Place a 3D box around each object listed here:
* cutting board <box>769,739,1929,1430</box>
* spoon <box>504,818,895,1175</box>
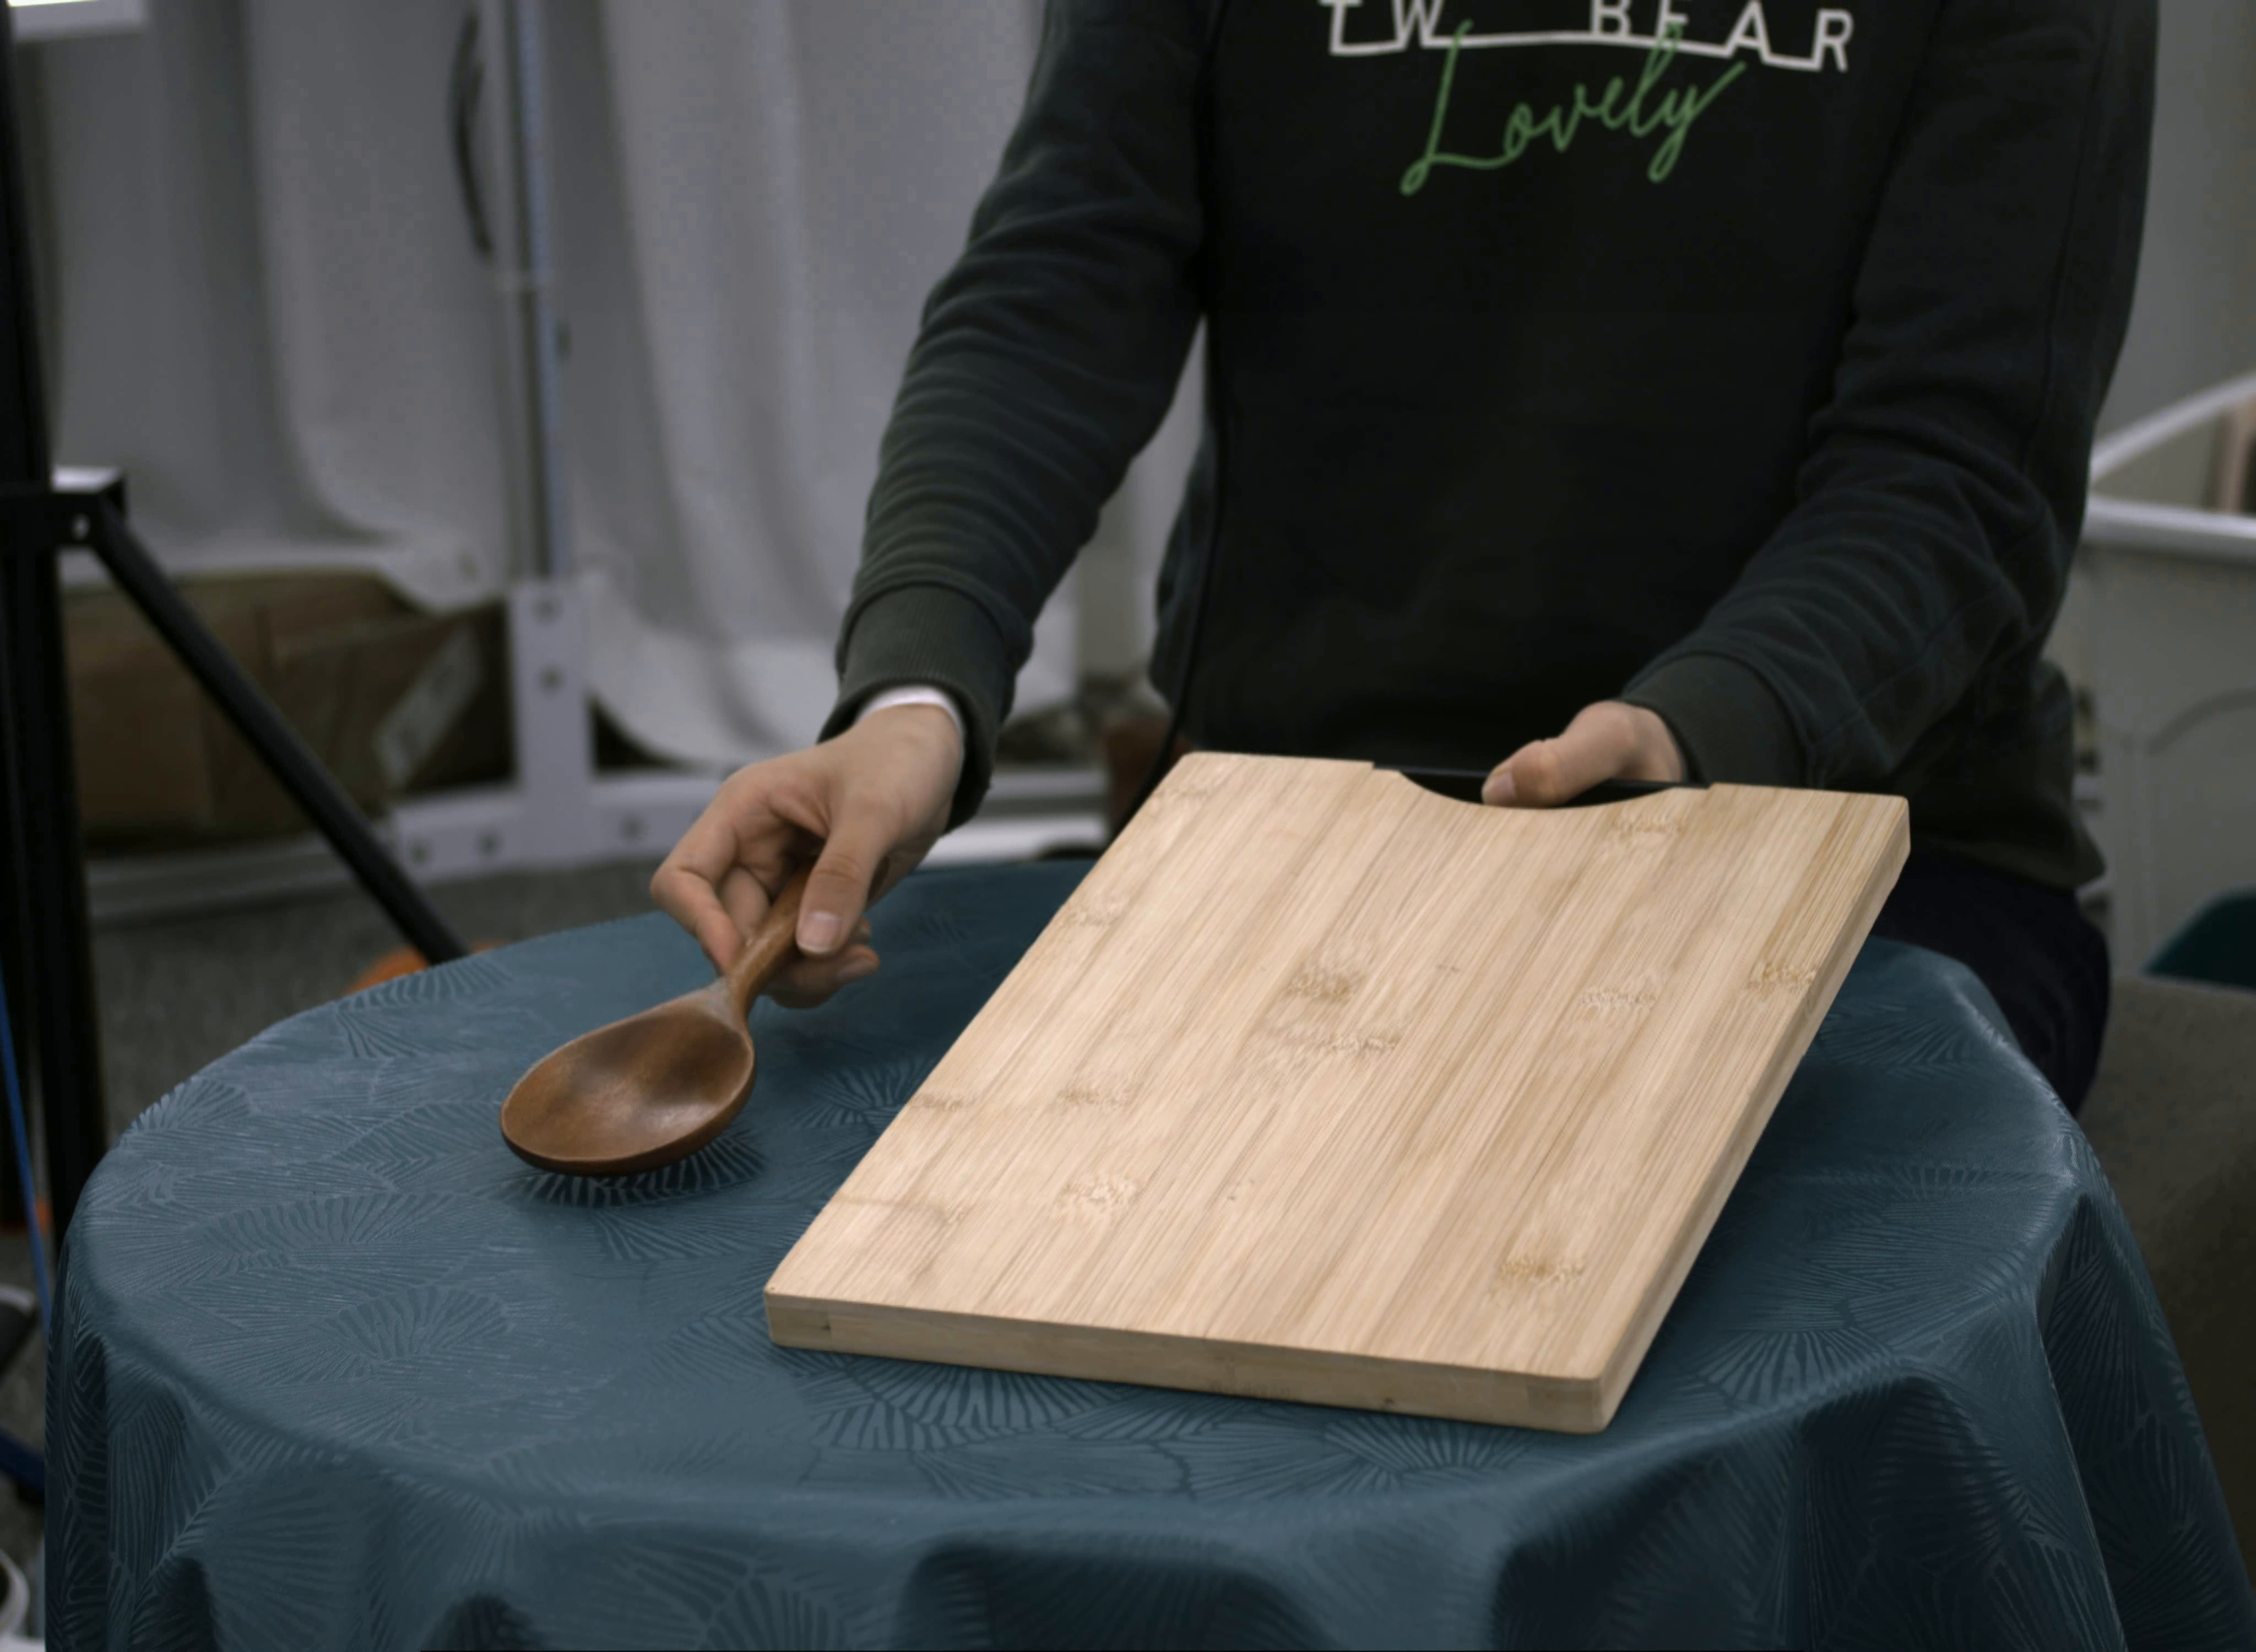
[{"bbox_3d":[0.074,0.064,1.545,0.254,0.023,0.346,3,28,21],"label":"cutting board"},{"bbox_3d":[-0.123,0.054,1.653,0.076,0.017,0.214,2,29,25],"label":"spoon"}]
